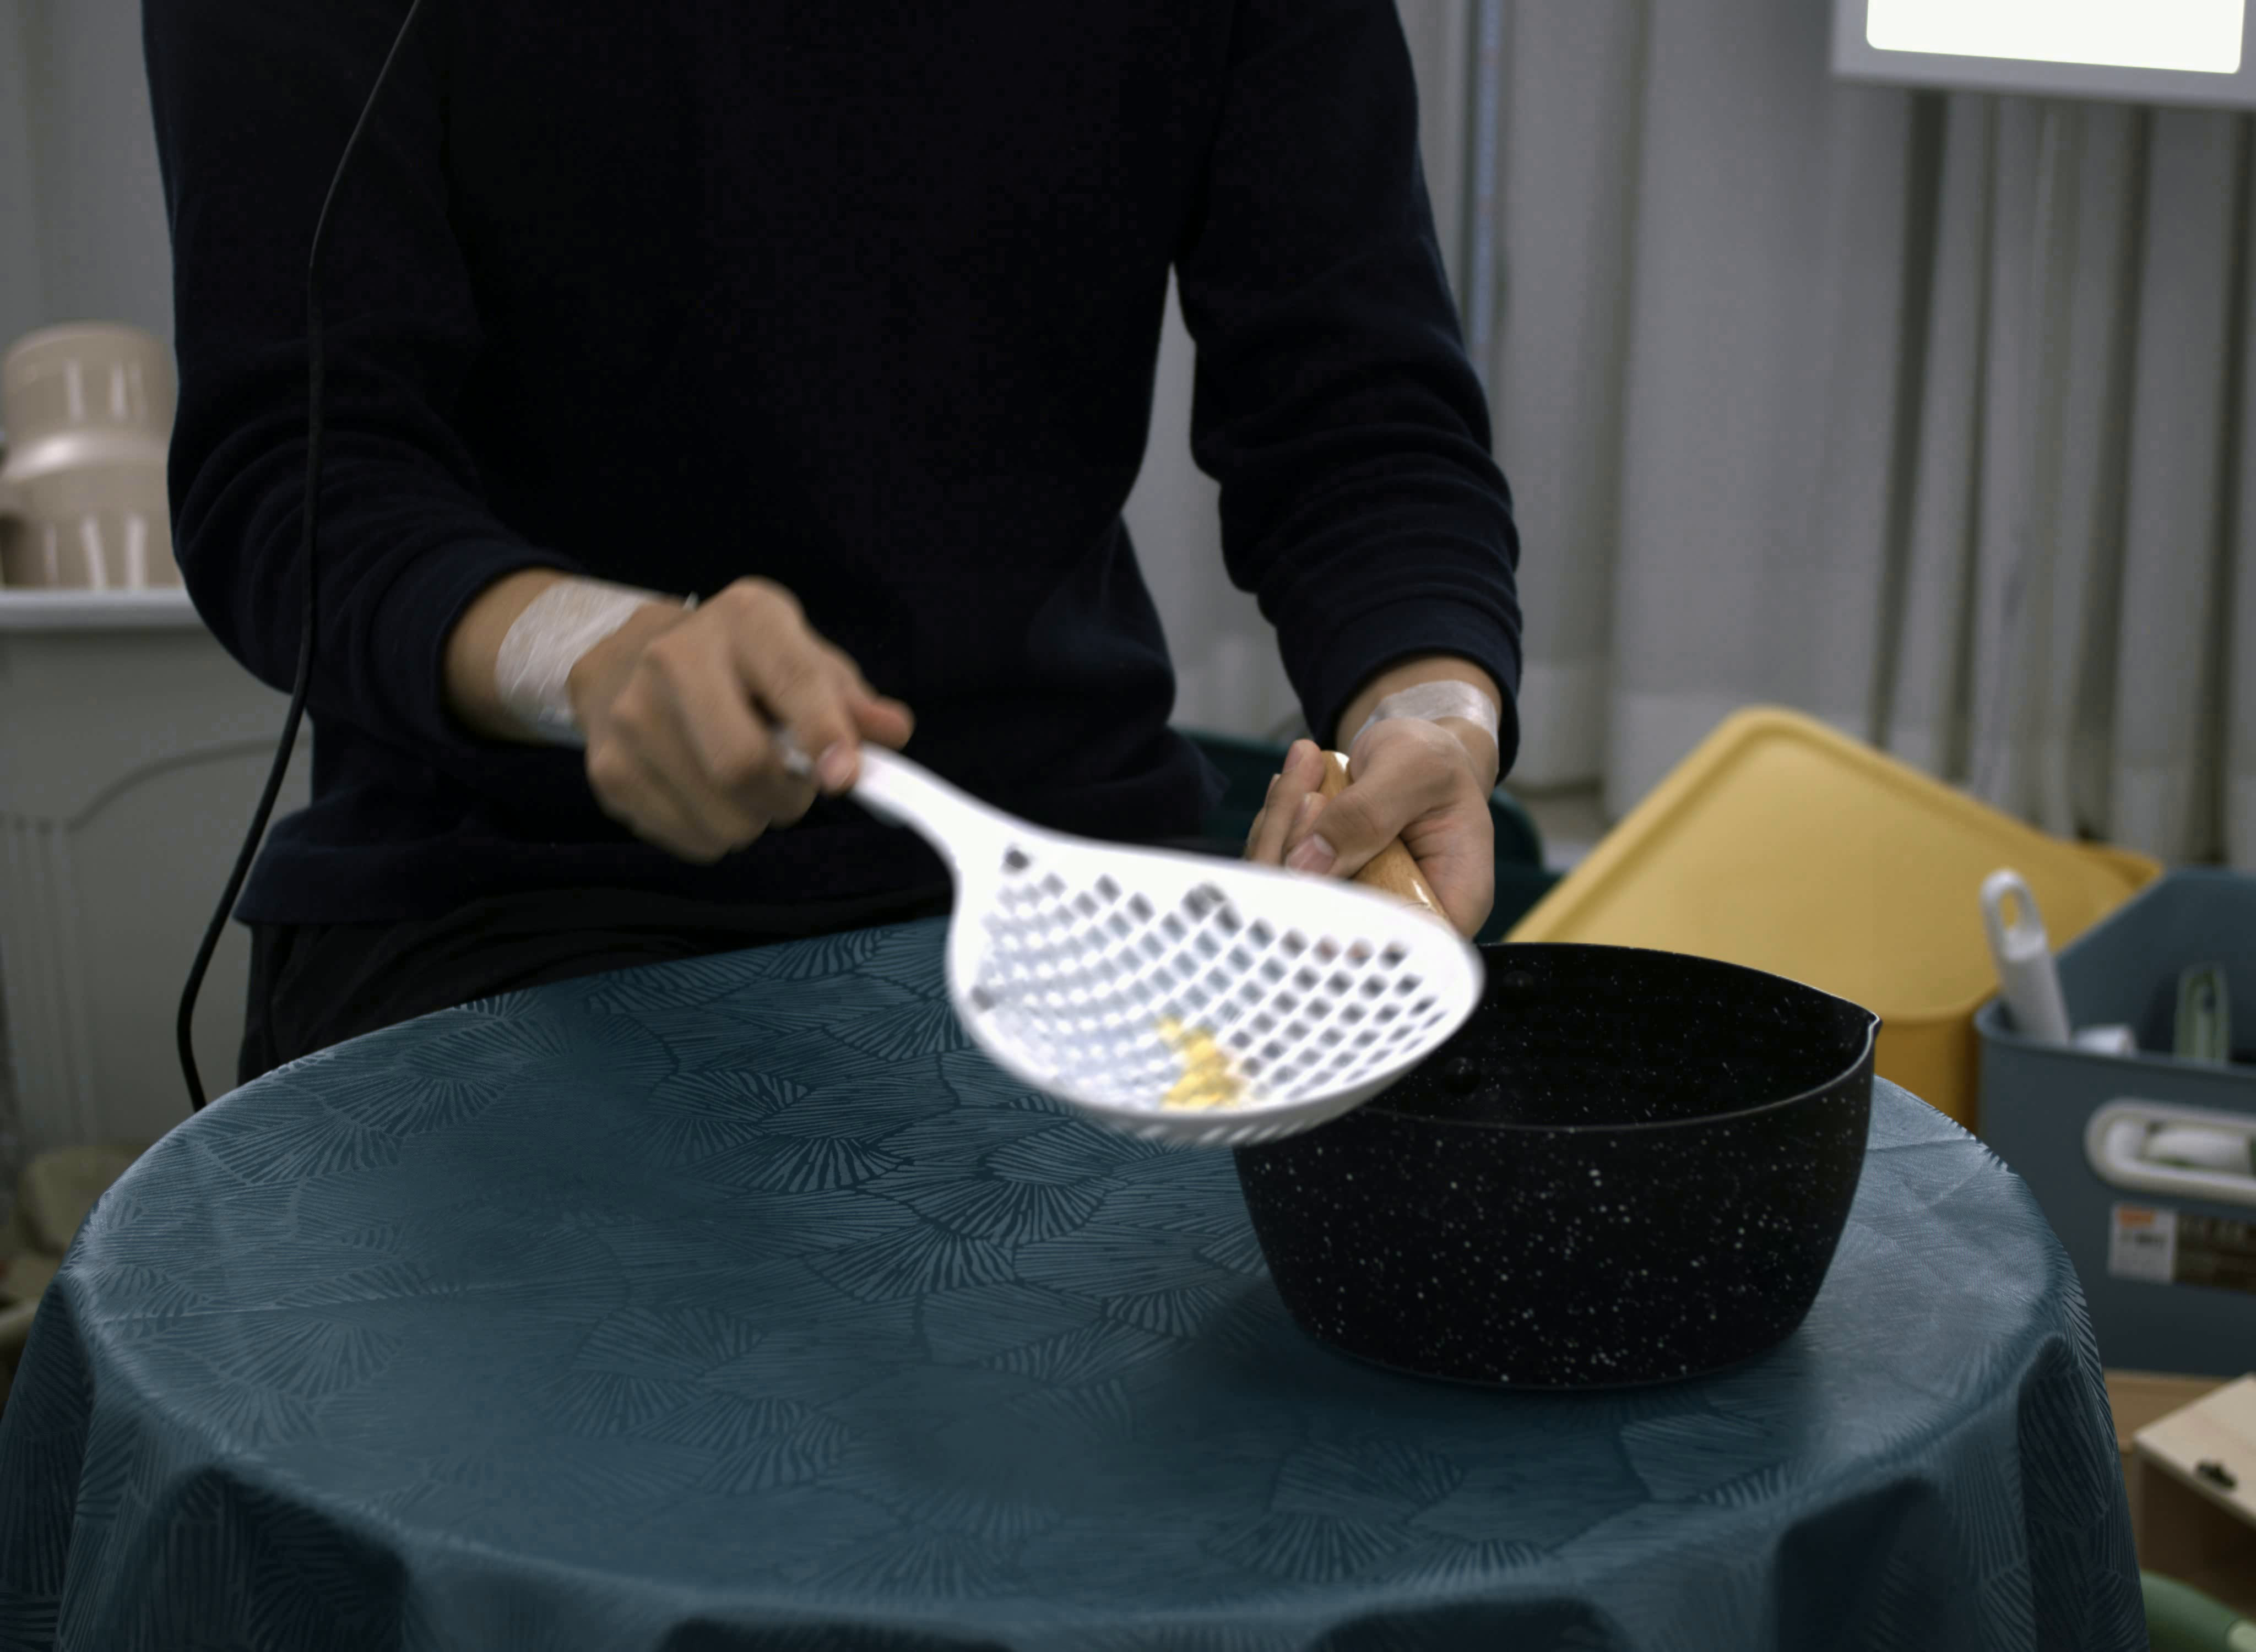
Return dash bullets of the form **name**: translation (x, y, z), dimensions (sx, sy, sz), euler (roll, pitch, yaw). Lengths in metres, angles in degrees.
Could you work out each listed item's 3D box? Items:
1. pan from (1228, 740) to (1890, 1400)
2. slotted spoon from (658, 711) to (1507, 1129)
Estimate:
- **pan**: translation (0.101, 0.068, 1.585), dimensions (0.208, 0.109, 0.339), euler (-5, 17, -14)
- **slotted spoon**: translation (-0.032, 0.011, 1.503), dimensions (0.137, 0.051, 0.343), euler (-23, 37, -30)
